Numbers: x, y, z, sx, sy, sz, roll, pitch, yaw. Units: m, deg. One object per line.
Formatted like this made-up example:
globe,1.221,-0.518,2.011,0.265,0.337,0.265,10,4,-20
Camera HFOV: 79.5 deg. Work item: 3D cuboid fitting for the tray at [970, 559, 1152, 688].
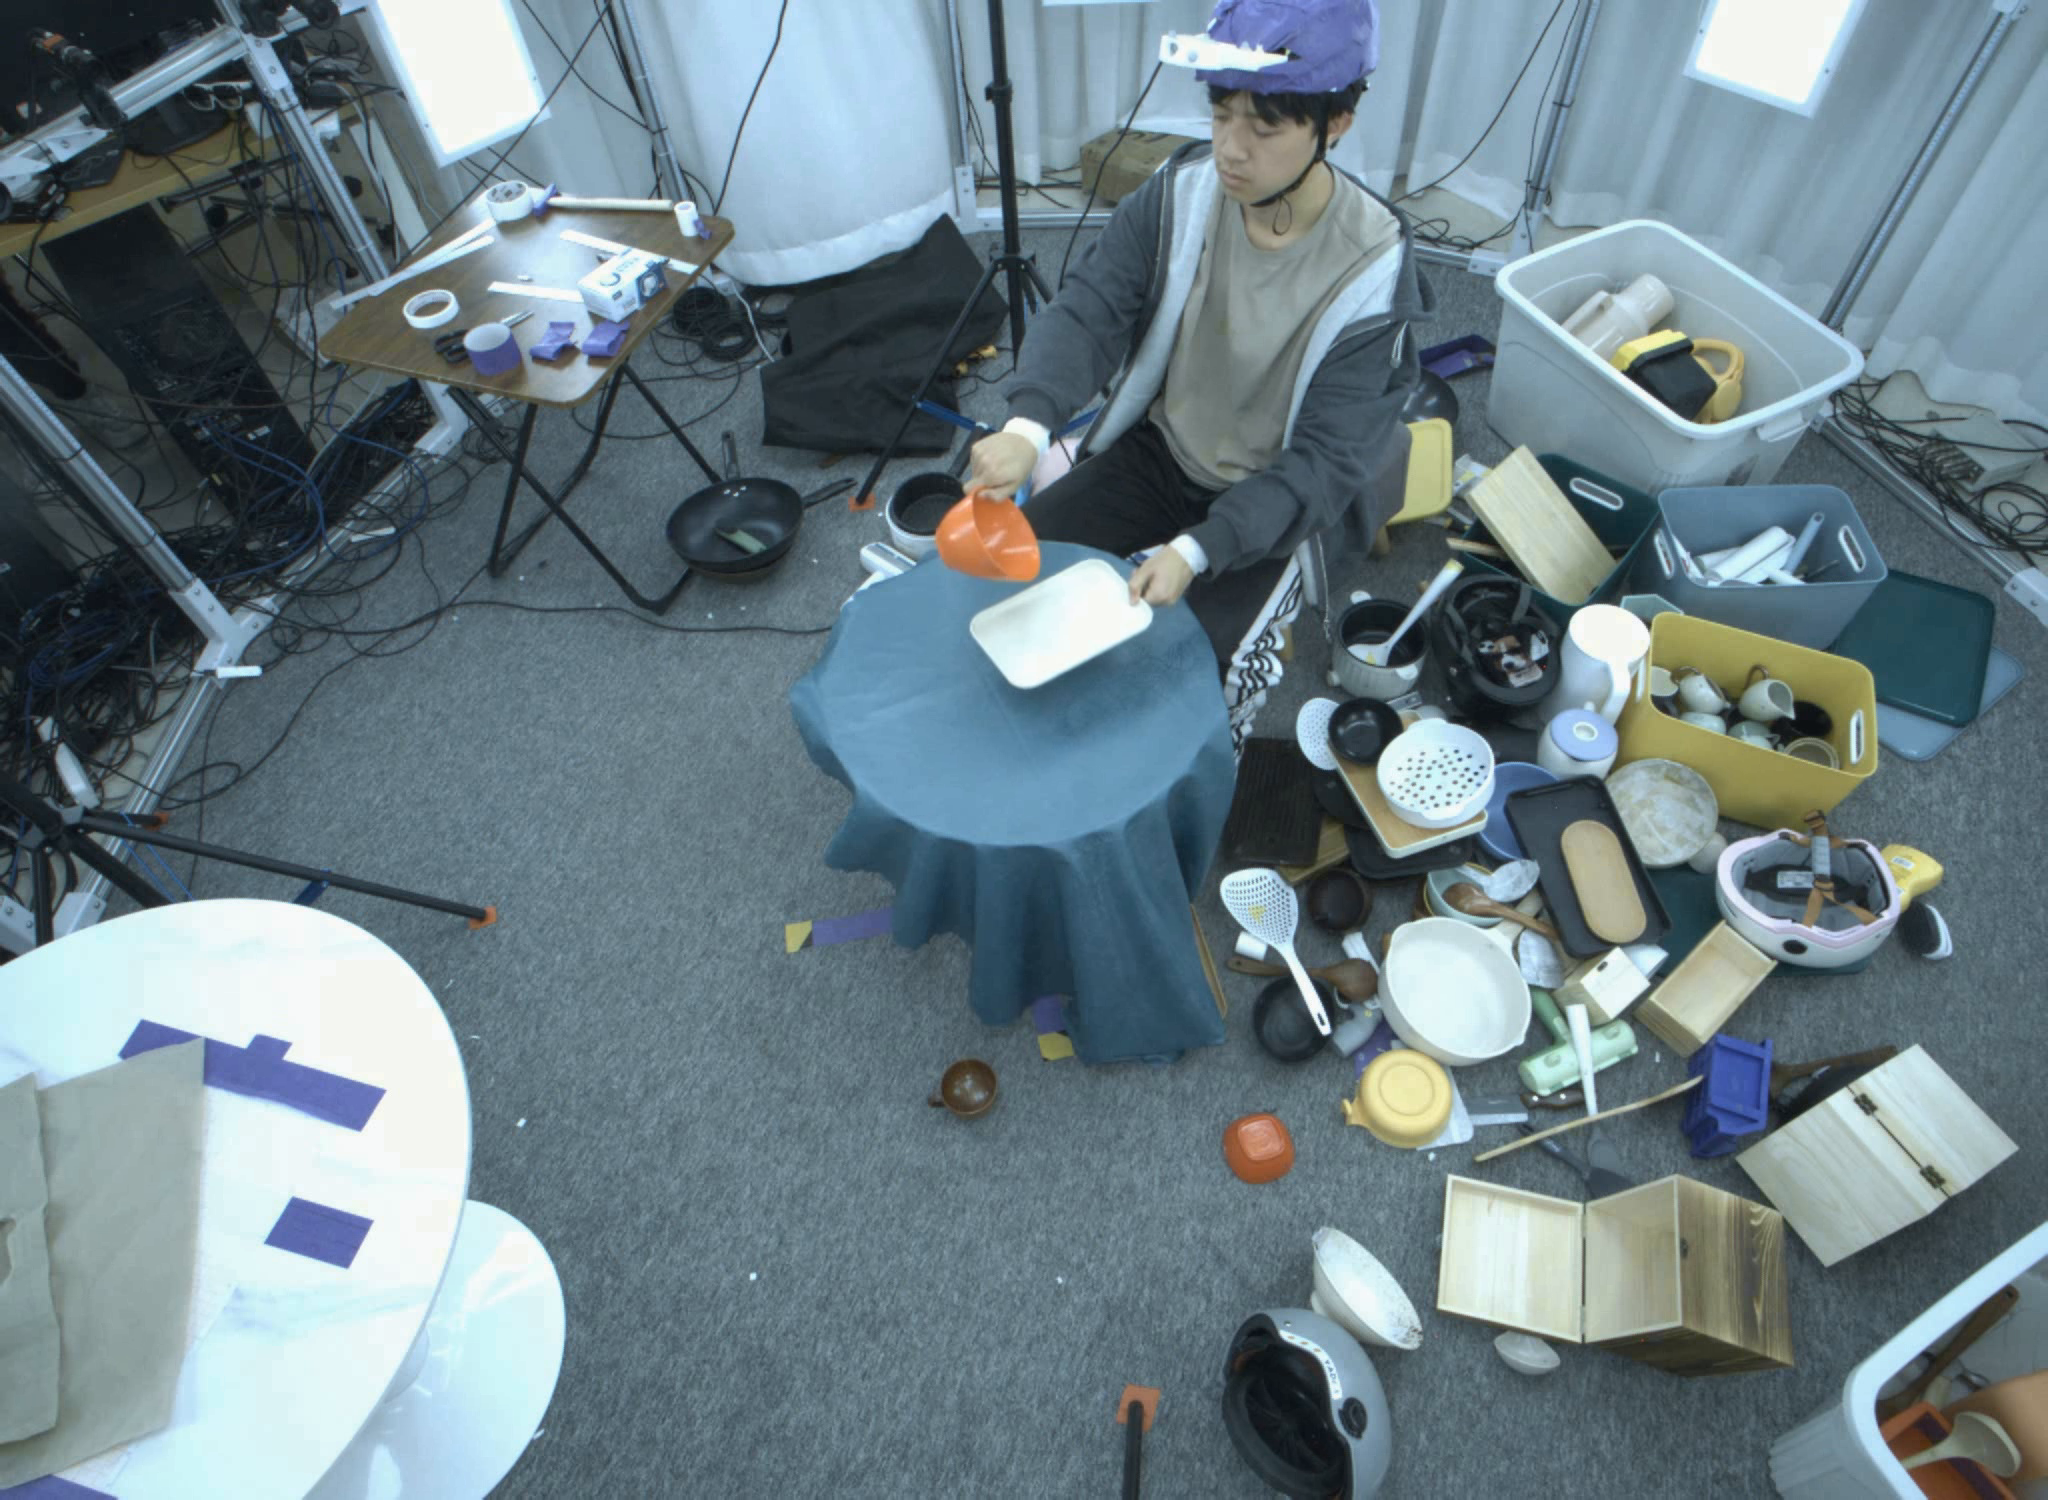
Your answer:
tray,0.054,-0.186,1.801,0.241,0.018,0.168,-28,55,-14

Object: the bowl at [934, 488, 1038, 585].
bowl,-0.062,-0.291,1.730,0.103,0.151,0.147,-14,51,27
